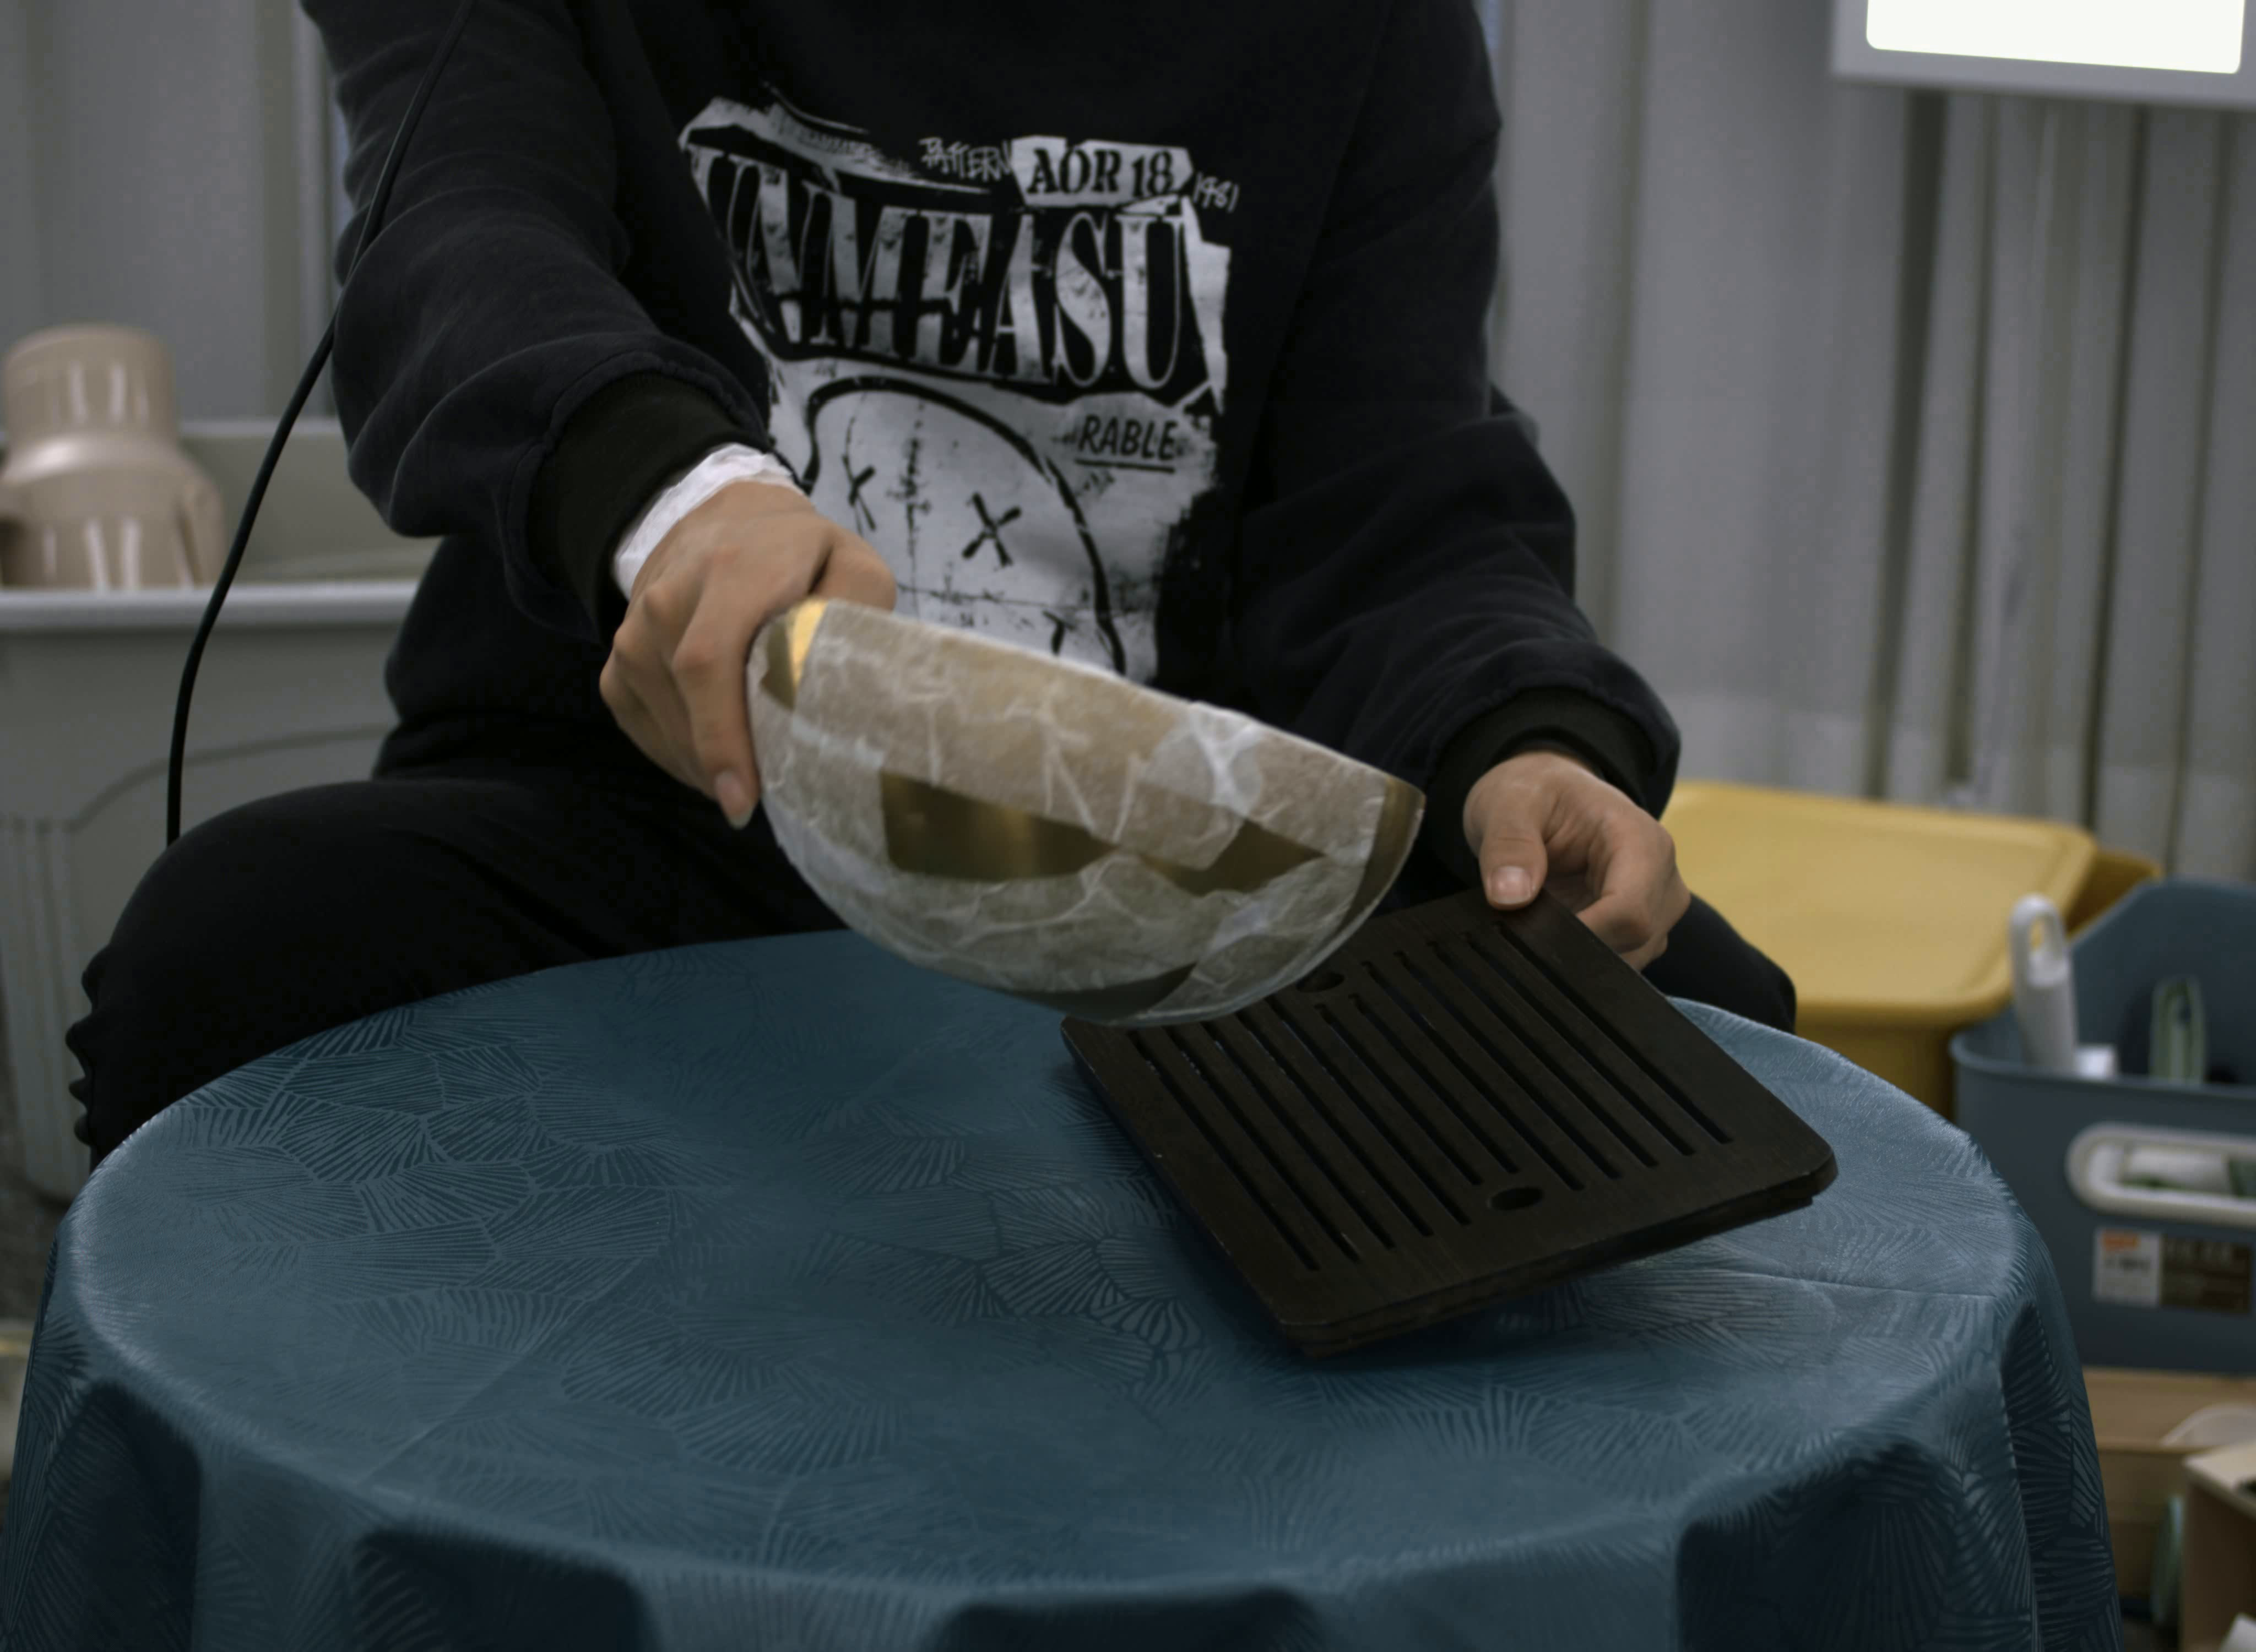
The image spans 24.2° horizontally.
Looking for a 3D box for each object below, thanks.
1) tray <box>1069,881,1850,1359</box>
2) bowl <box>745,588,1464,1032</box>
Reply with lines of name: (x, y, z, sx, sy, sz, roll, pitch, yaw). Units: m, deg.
tray: (0.094, 0.086, 1.627, 0.170, 0.019, 0.303, -16, 19, -9)
bowl: (-0.020, 0.006, 1.510, 0.214, 0.095, 0.215, 16, -1, 1)
